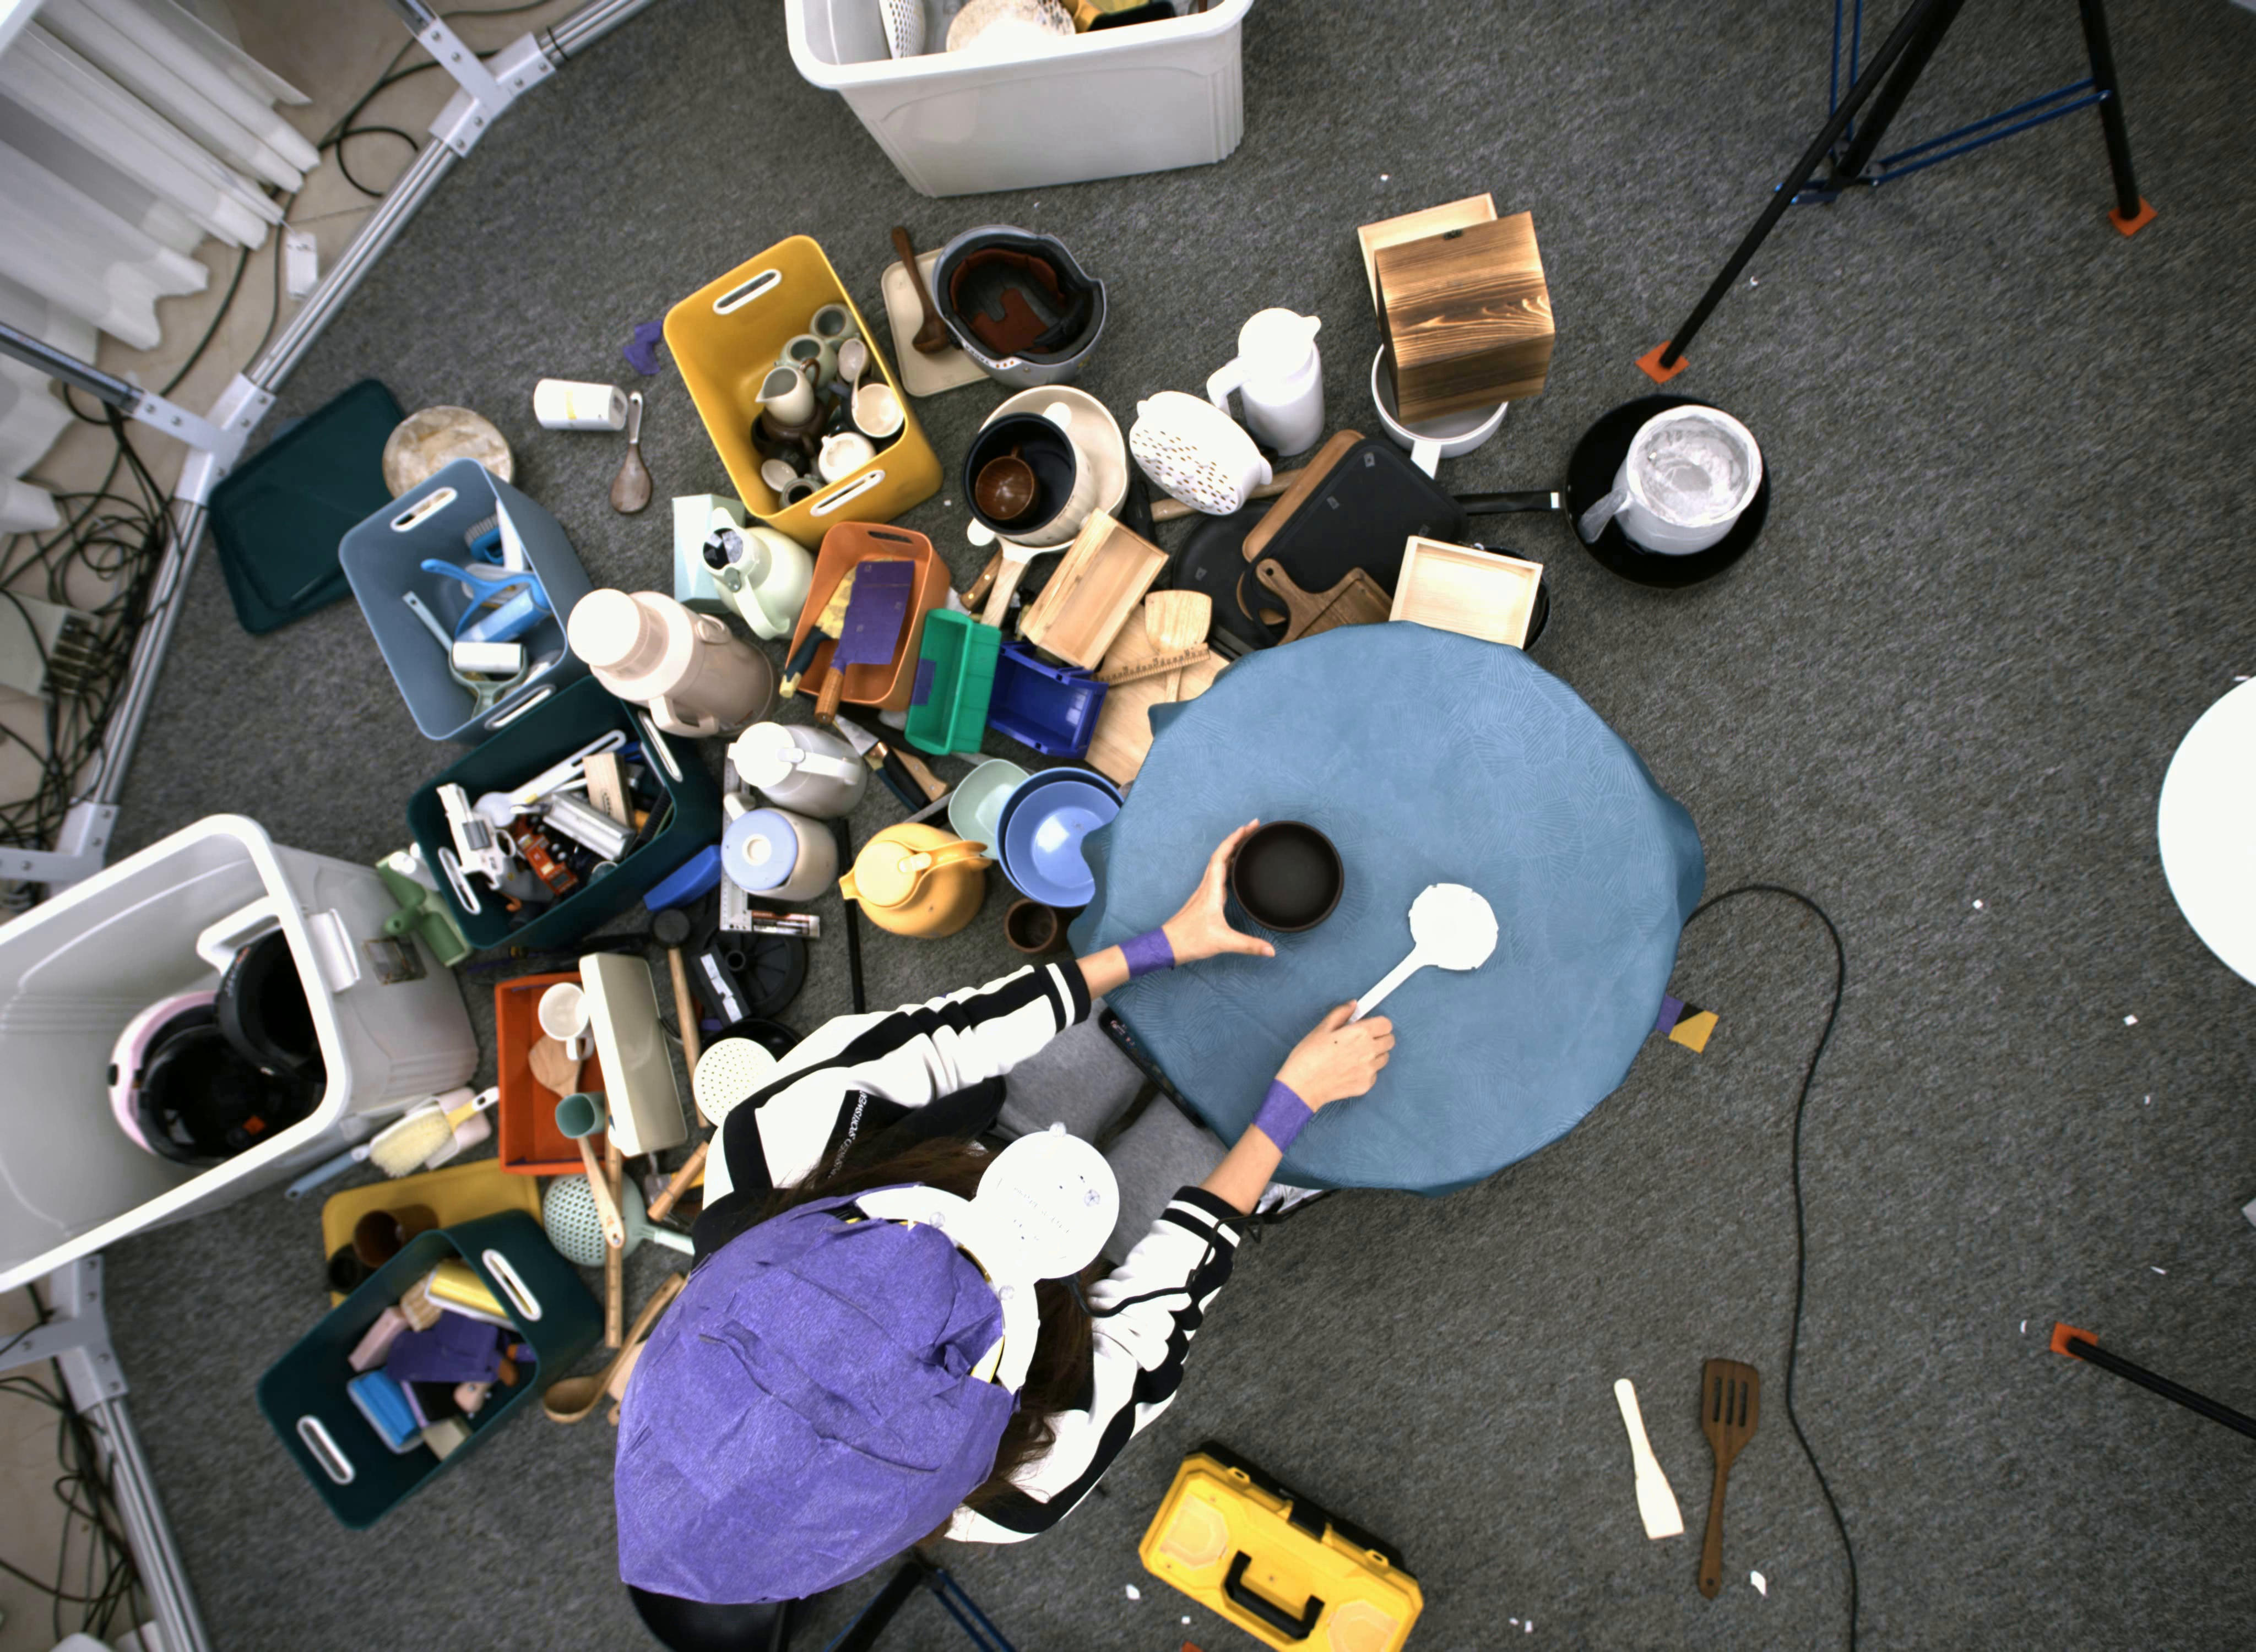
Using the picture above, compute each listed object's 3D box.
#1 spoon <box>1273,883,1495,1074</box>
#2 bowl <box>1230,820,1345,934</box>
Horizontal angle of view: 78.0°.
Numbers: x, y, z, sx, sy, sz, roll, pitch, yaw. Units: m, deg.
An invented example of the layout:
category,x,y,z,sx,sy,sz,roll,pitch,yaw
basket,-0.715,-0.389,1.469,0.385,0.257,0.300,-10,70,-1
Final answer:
category,x,y,z,sx,sy,sz,roll,pitch,yaw
spoon,0.254,0.162,1.428,0.278,0.059,0.100,-39,76,5
bowl,0.167,0.054,1.443,0.118,0.070,0.117,-1,85,10
